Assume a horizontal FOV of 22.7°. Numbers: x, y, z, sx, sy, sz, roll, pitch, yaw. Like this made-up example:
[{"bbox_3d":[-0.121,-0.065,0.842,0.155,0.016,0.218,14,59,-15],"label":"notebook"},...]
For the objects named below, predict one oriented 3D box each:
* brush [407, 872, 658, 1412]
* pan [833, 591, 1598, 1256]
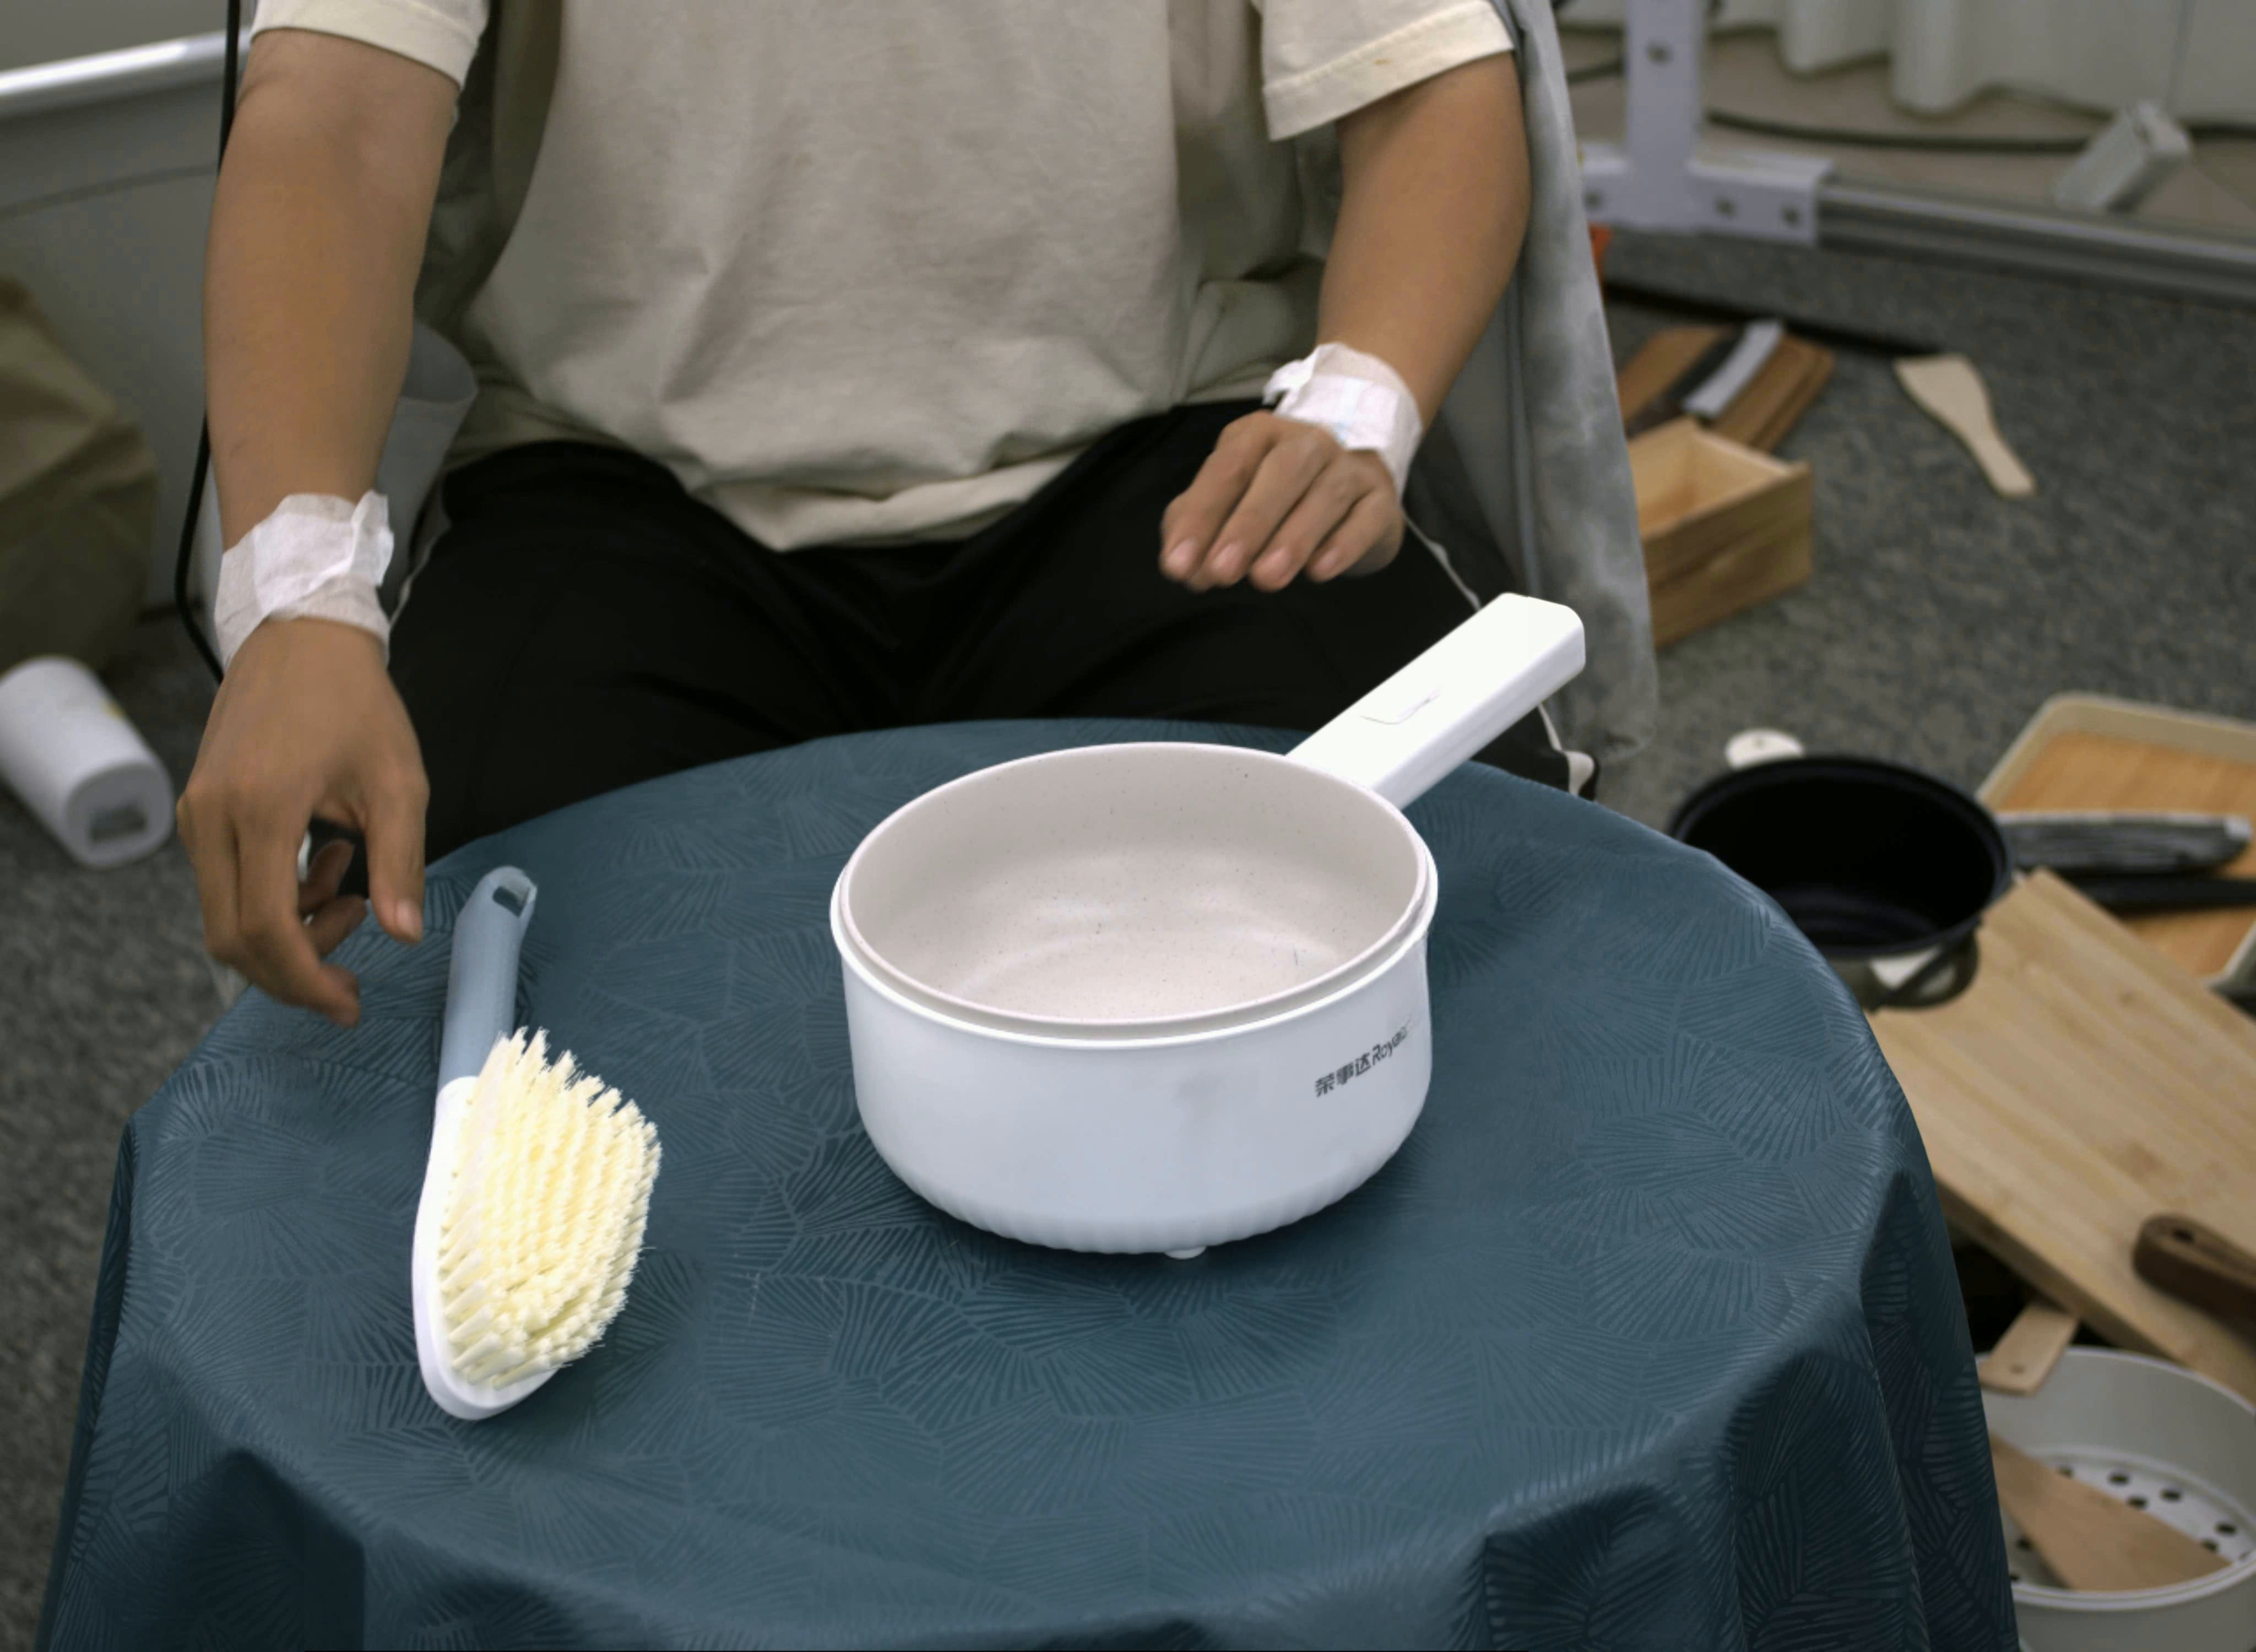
[{"bbox_3d":[-0.199,0.078,1.875,0.084,0.082,0.330,-10,28,2],"label":"brush"},{"bbox_3d":[0.050,0.029,1.925,0.200,0.101,0.360,16,32,32],"label":"pan"}]
